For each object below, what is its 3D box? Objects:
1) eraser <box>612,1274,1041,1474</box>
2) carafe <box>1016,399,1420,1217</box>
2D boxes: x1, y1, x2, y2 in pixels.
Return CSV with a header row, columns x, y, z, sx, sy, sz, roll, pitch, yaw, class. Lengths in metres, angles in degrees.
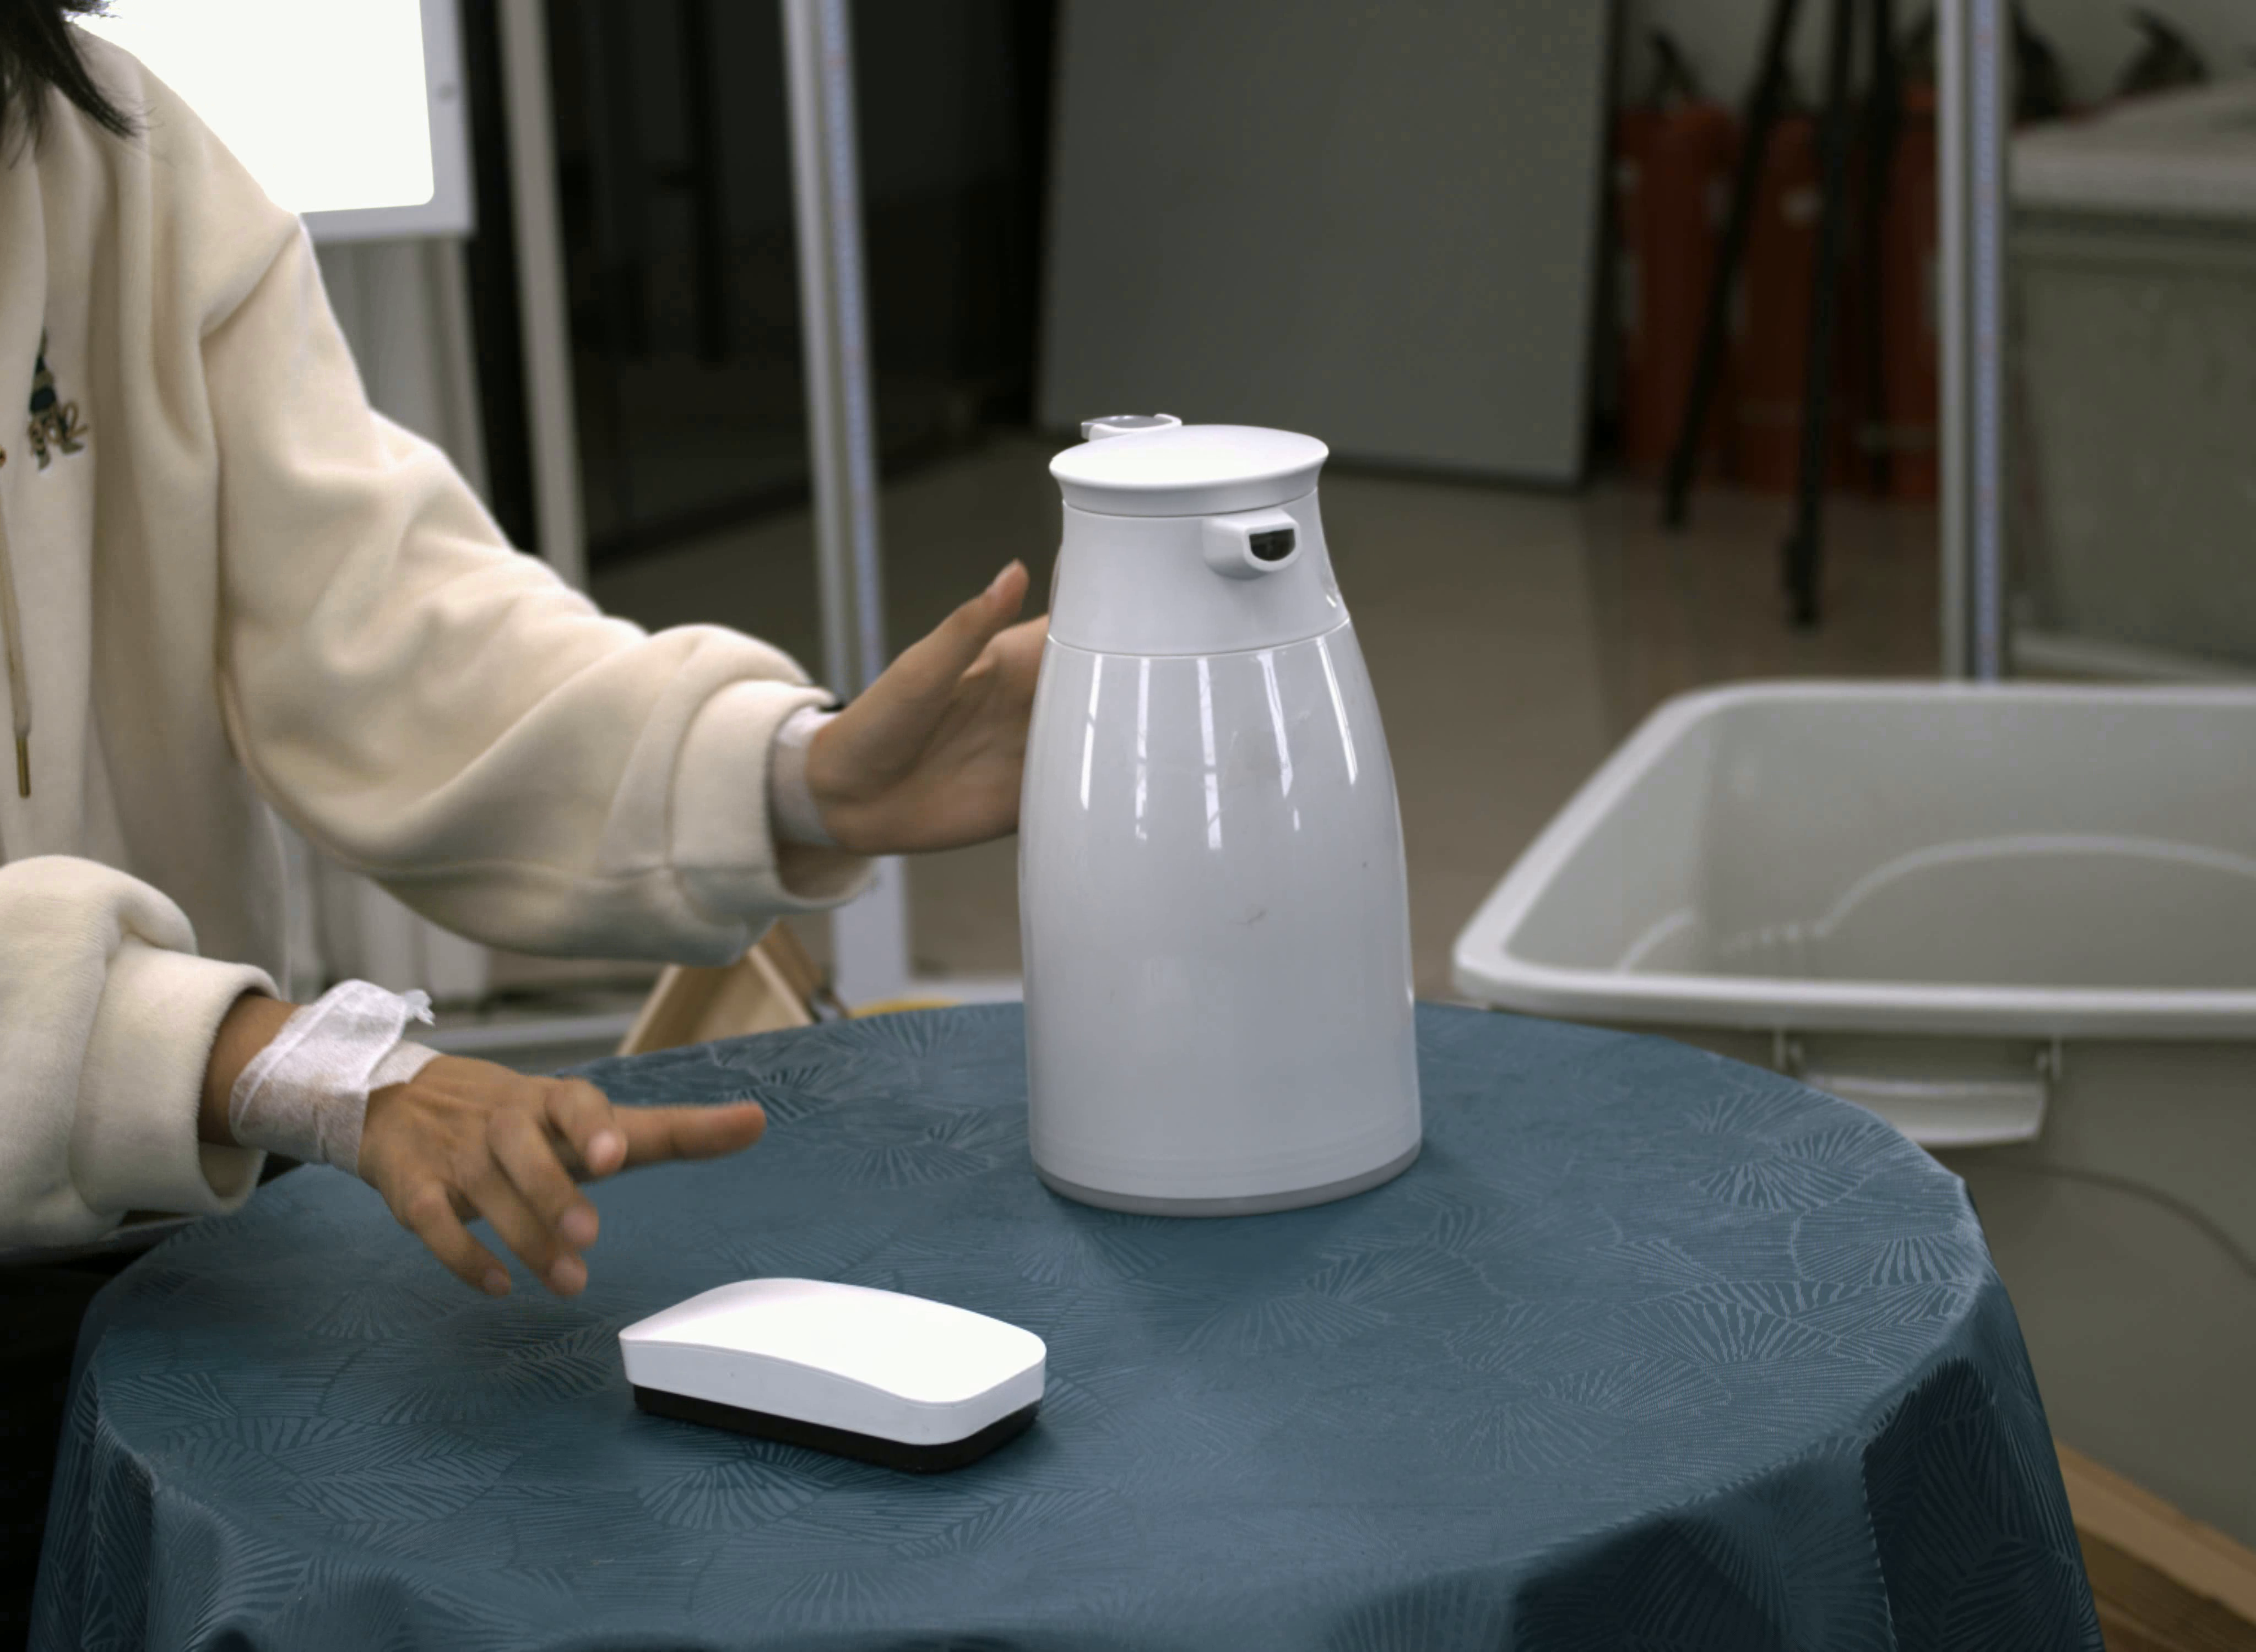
x,y,z,sx,sy,sz,roll,pitch,yaw,class
-0.088,0.158,1.579,0.132,0.035,0.062,7,15,38,eraser
0.016,-0.014,1.788,0.130,0.251,0.169,-10,14,-23,carafe
